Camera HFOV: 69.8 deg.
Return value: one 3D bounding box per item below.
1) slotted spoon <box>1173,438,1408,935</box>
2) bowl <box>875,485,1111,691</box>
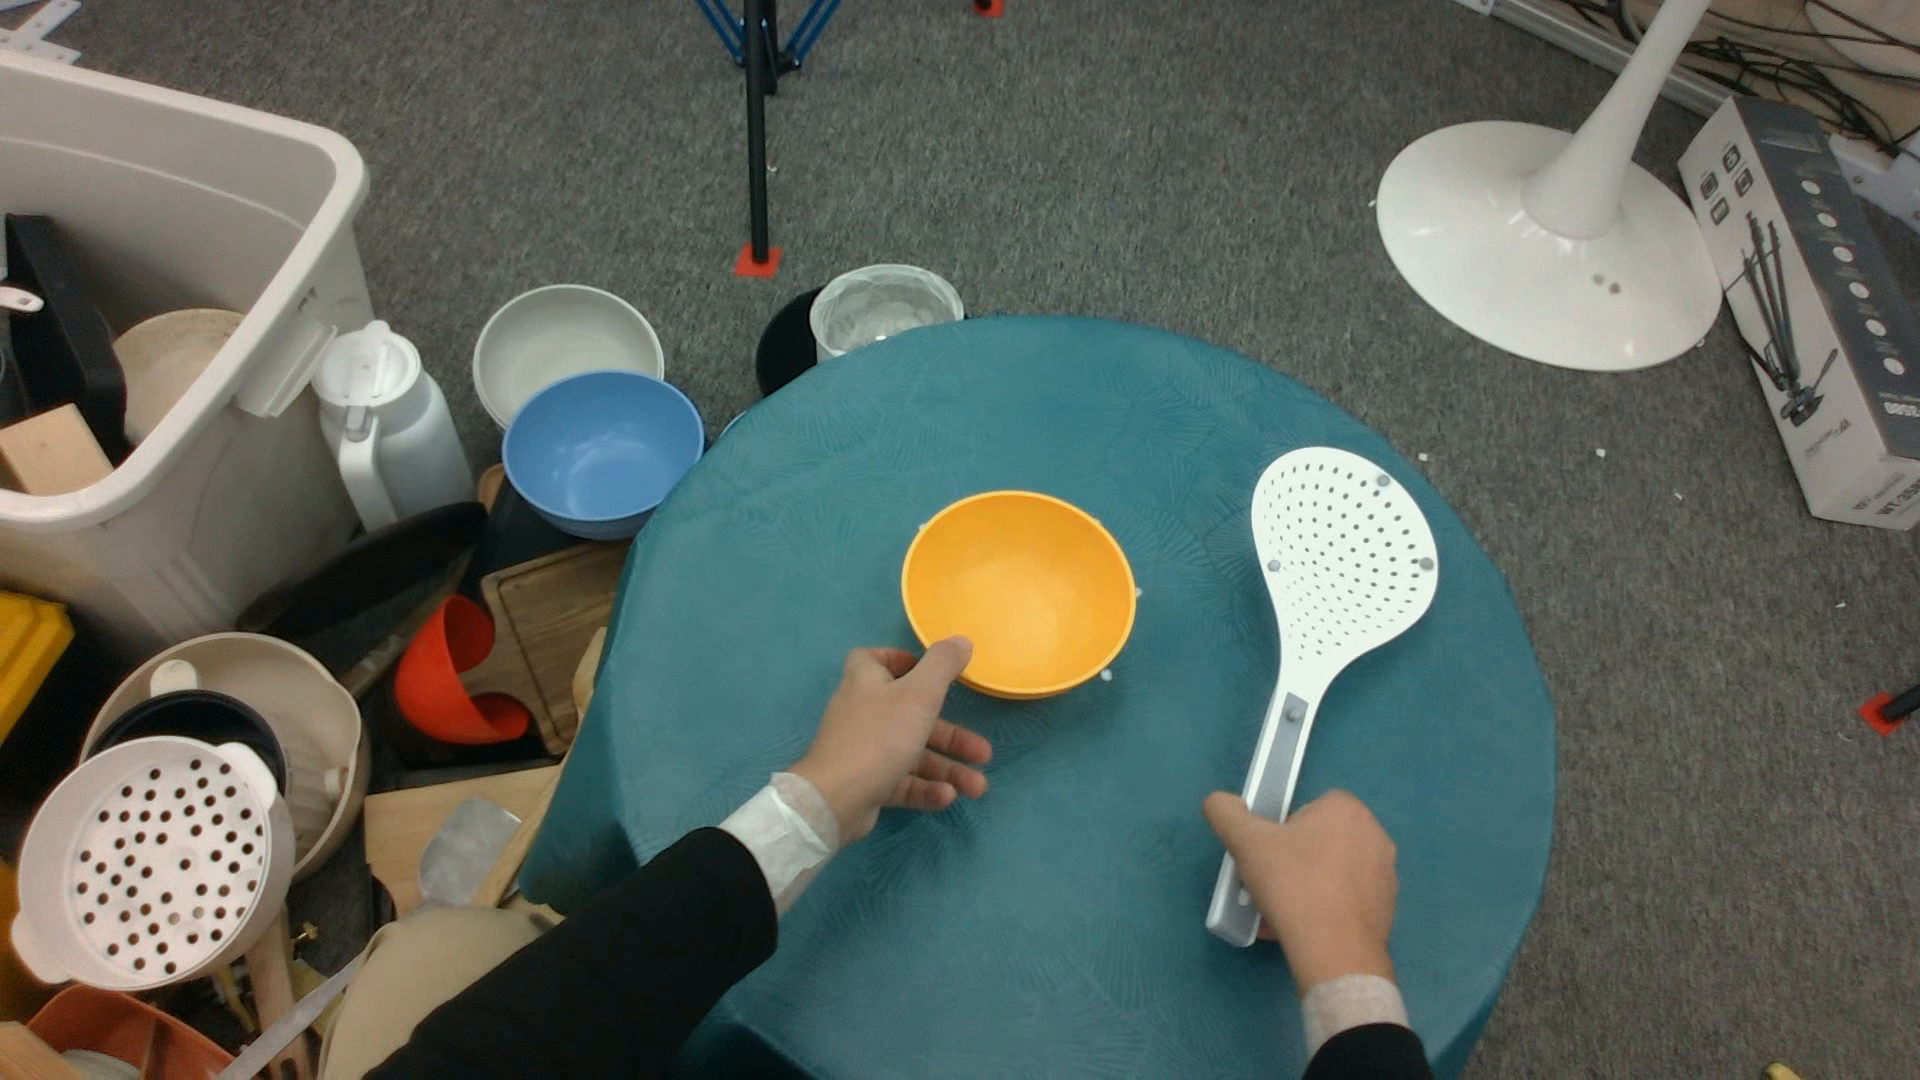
[{"bbox_3d":[0.194,0.079,0.851,0.136,0.045,0.351,29,53,-7],"label":"slotted spoon"},{"bbox_3d":[0.018,0.039,0.859,0.145,0.060,0.146,3,55,-4],"label":"bowl"}]
